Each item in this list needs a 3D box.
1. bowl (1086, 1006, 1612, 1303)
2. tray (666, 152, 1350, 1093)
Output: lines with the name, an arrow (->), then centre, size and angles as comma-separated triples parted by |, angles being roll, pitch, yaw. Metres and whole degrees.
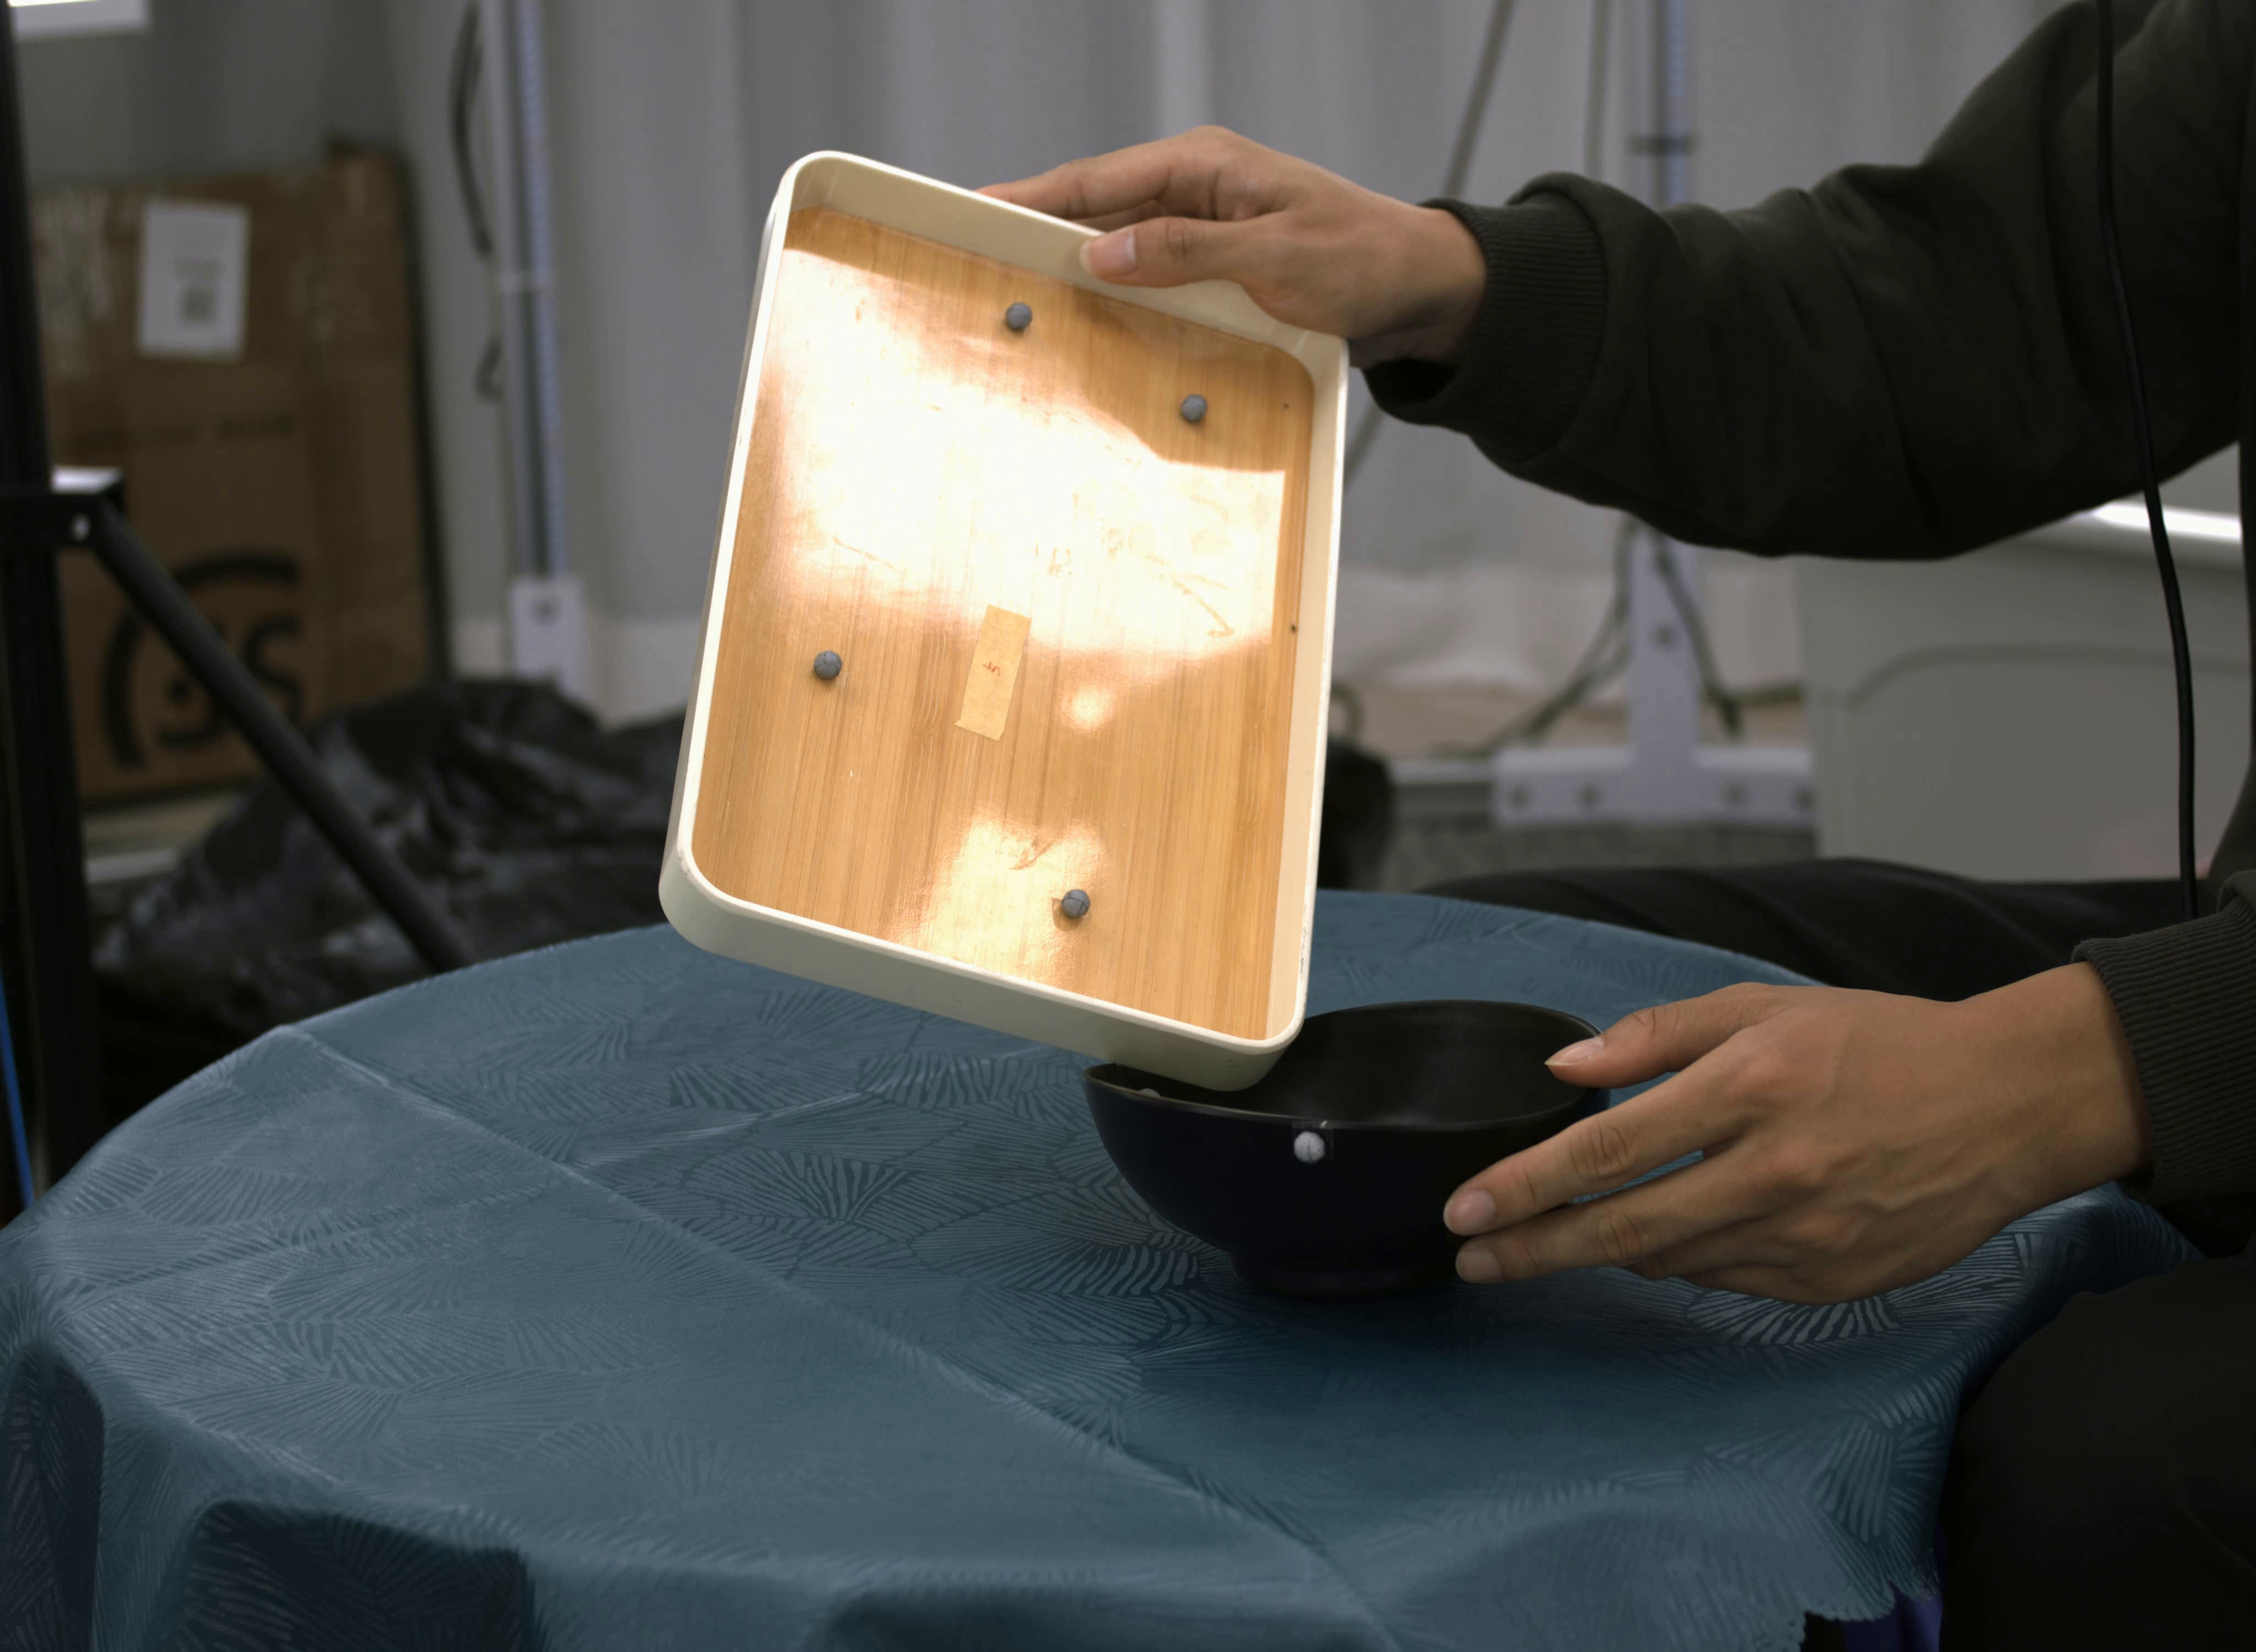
bowl -> 0.061, 0.094, 1.478 | 0.134, 0.067, 0.174 | -10, 10, -33
tray -> -0.031, -0.066, 1.603 | 0.189, 0.027, 0.303 | 15, 50, -11
